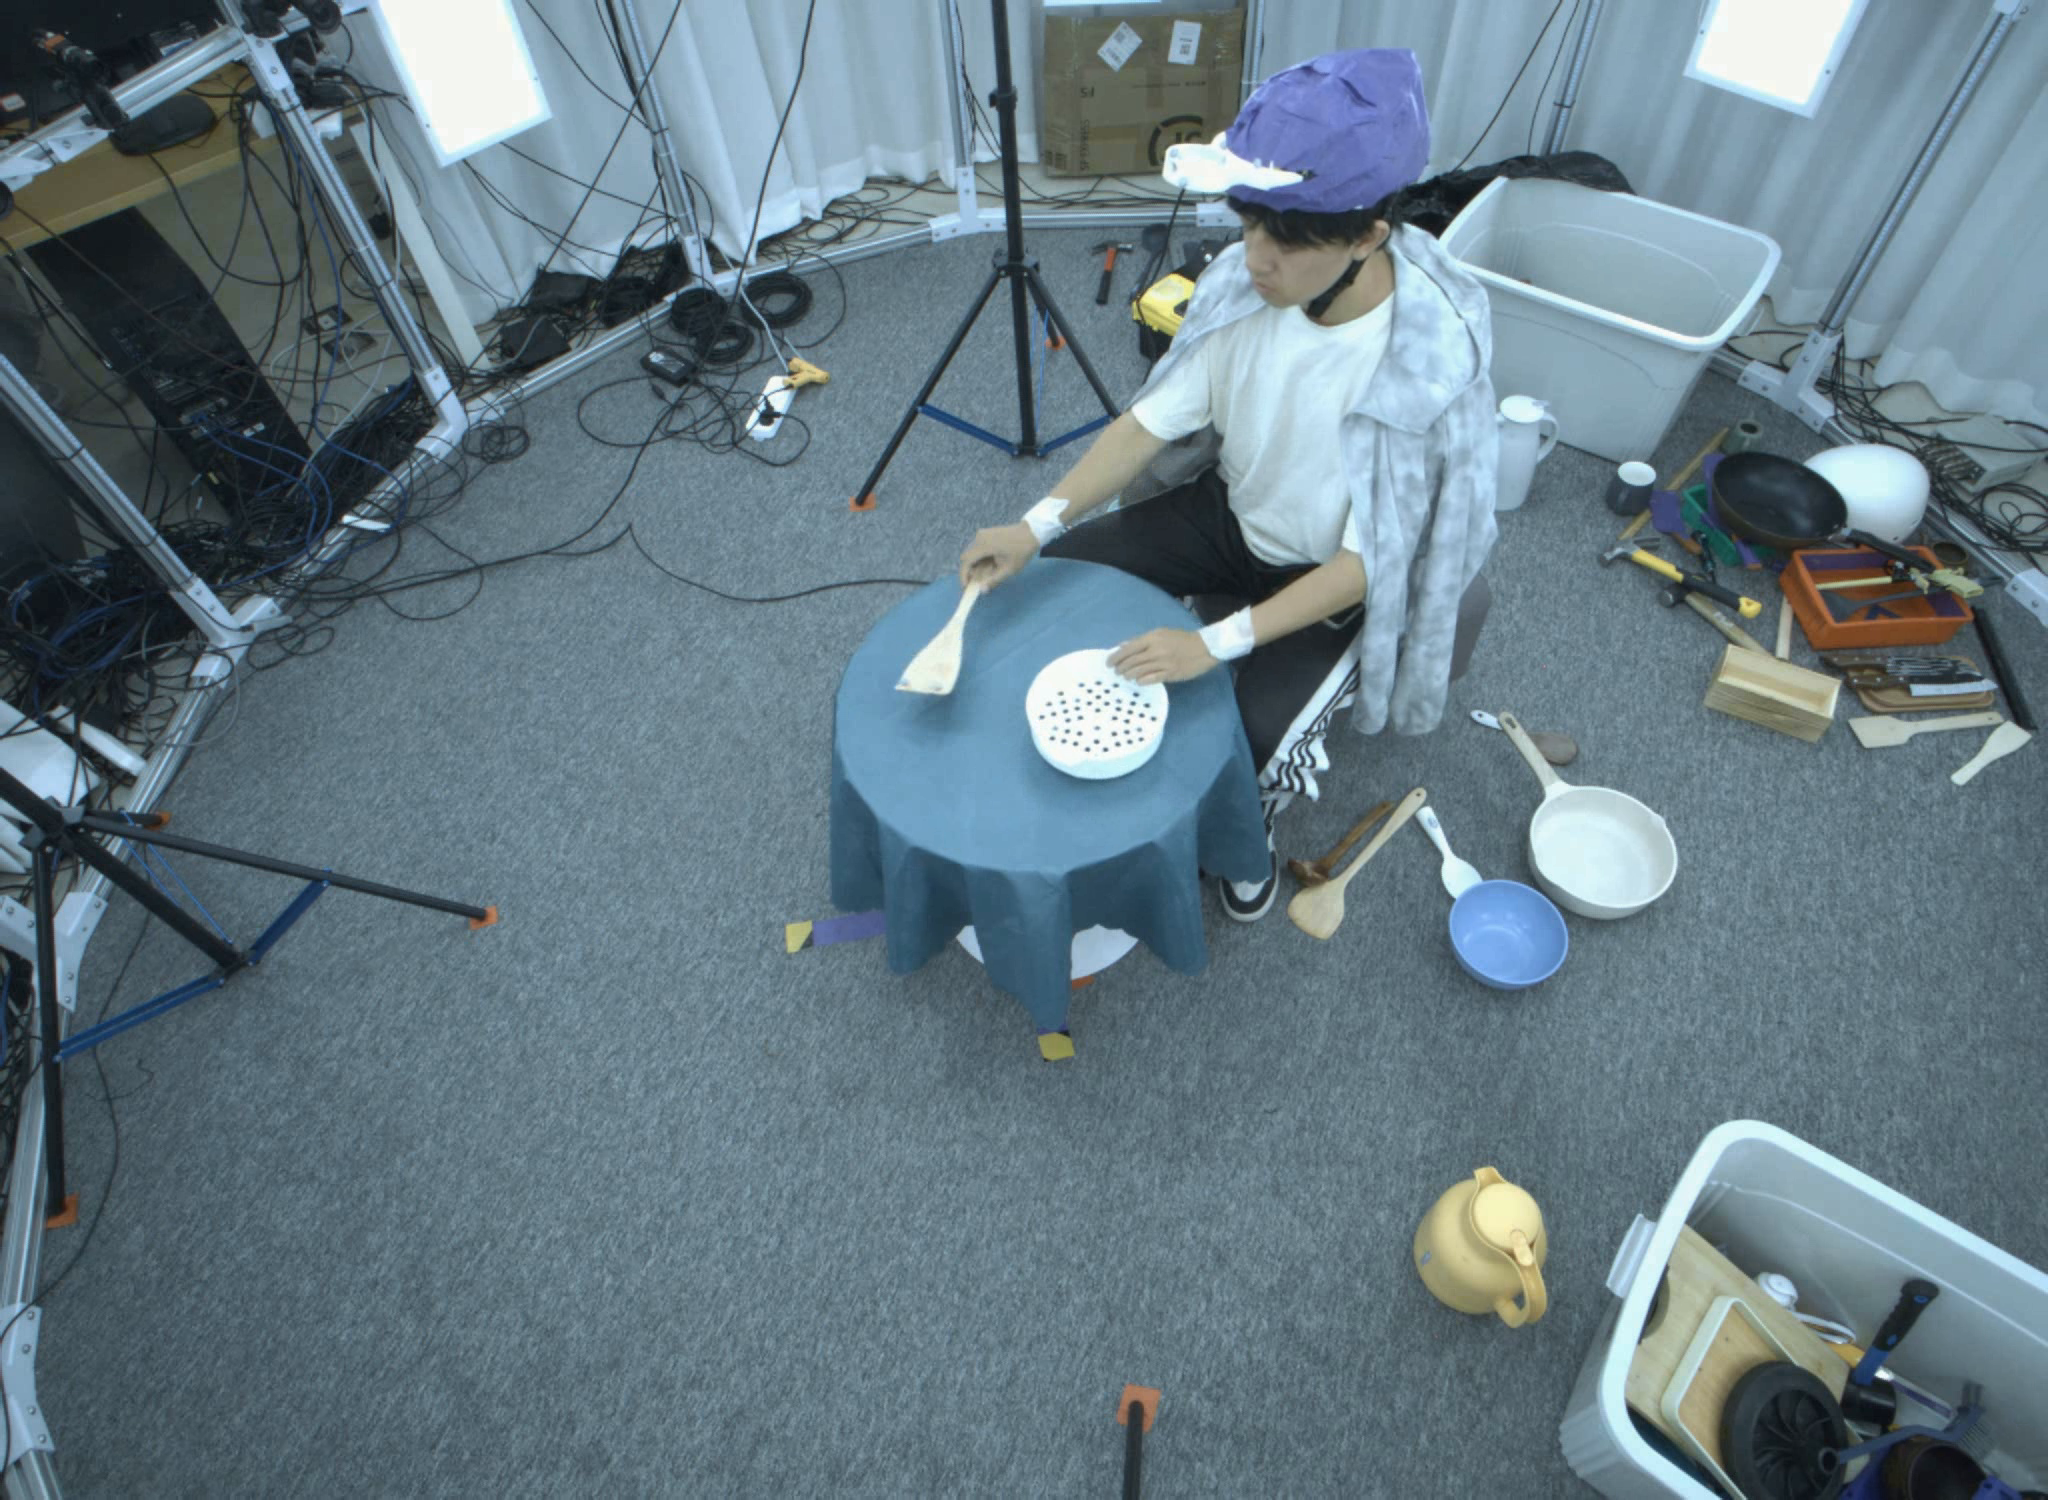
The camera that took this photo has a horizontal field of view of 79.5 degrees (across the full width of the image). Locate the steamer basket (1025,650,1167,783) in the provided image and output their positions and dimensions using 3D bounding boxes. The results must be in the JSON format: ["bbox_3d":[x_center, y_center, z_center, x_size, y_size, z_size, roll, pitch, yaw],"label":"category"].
[{"bbox_3d":[0.103,-0.045,1.777,0.199,0.070,0.231,27,59,18],"label":"steamer basket"}]

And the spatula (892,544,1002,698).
[{"bbox_3d":[-0.101,-0.200,1.856,0.079,0.017,0.327,17,59,12],"label":"spatula"}]
